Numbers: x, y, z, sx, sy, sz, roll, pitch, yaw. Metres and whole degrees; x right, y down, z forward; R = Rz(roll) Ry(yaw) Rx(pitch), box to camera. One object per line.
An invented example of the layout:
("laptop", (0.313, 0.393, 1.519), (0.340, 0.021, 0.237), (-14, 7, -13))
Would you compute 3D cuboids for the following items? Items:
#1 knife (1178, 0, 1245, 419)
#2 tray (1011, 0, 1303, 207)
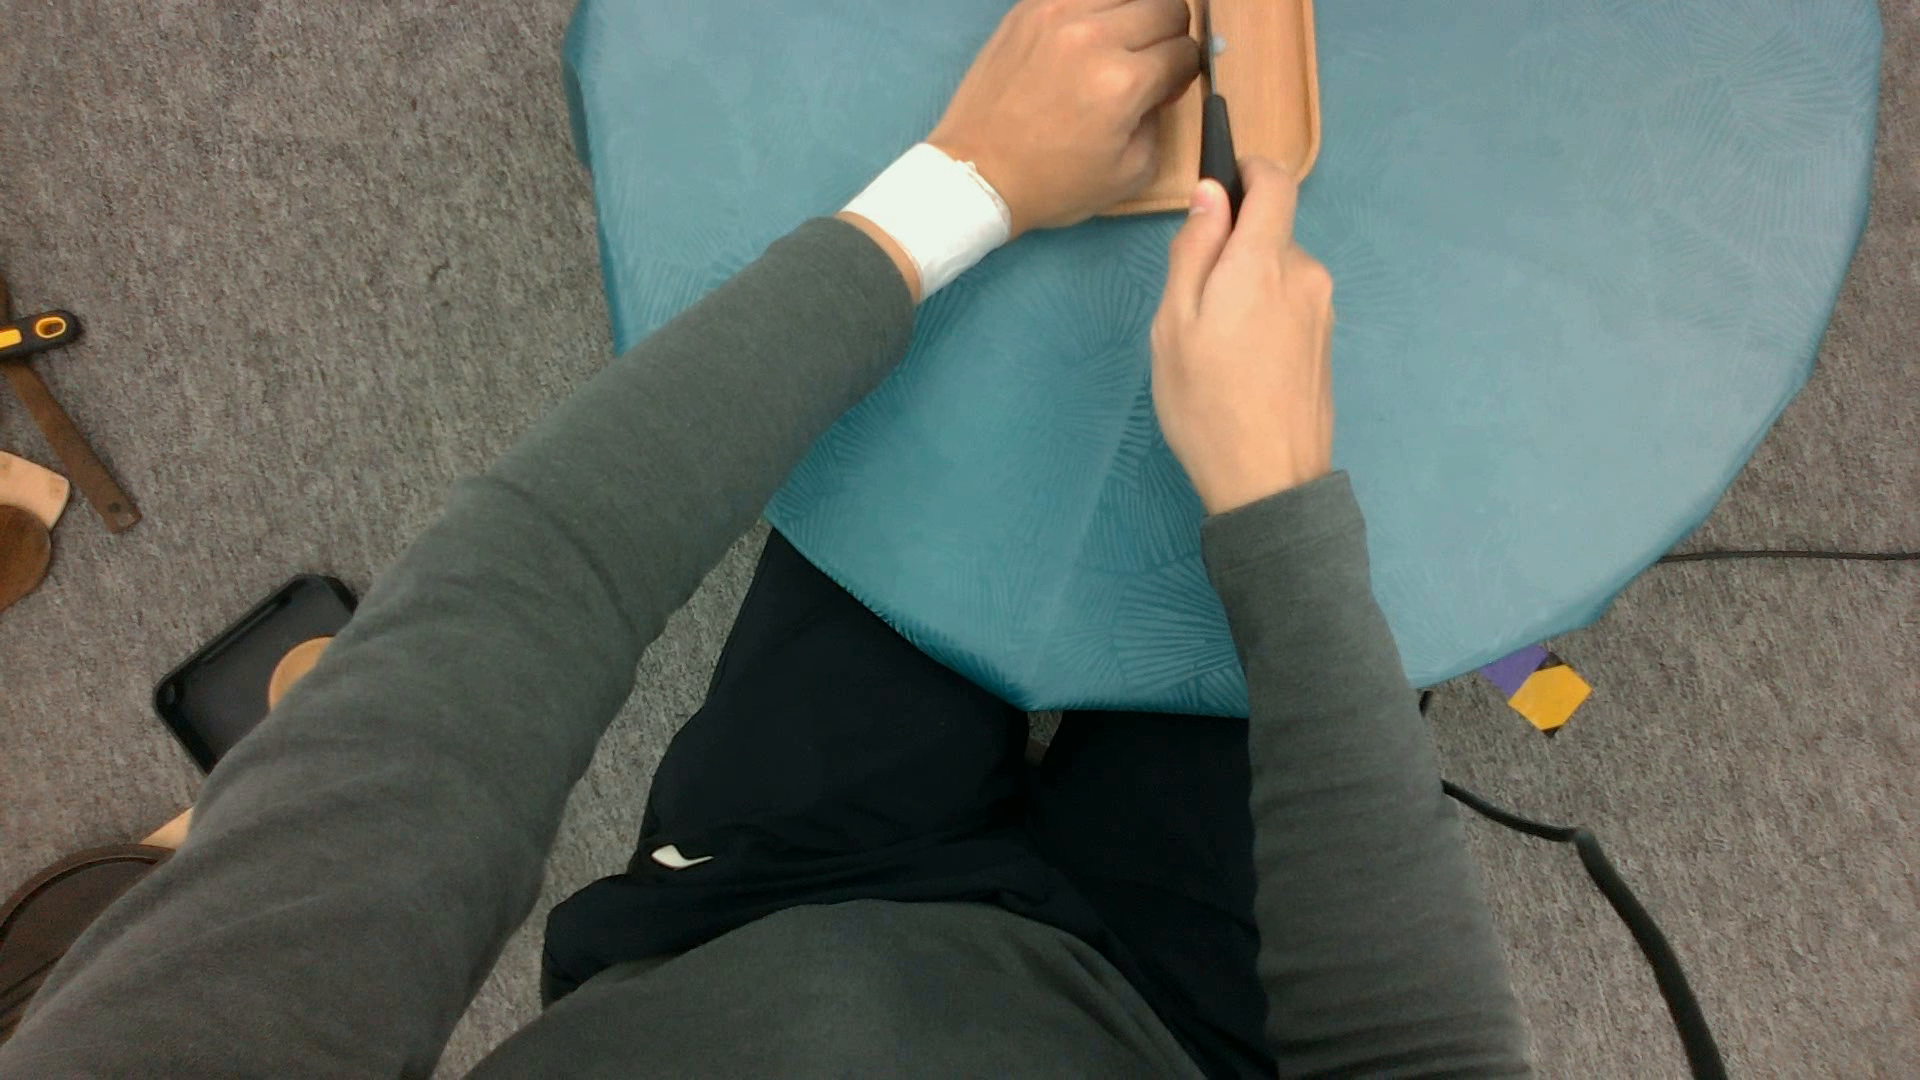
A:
("knife", (0.097, -0.202, 0.579), (0.021, 0.081, 0.302), (-5, 87, 7))
("tray", (0.086, -0.280, 0.632), (0.130, 0.023, 0.250), (-4, 91, 2))
